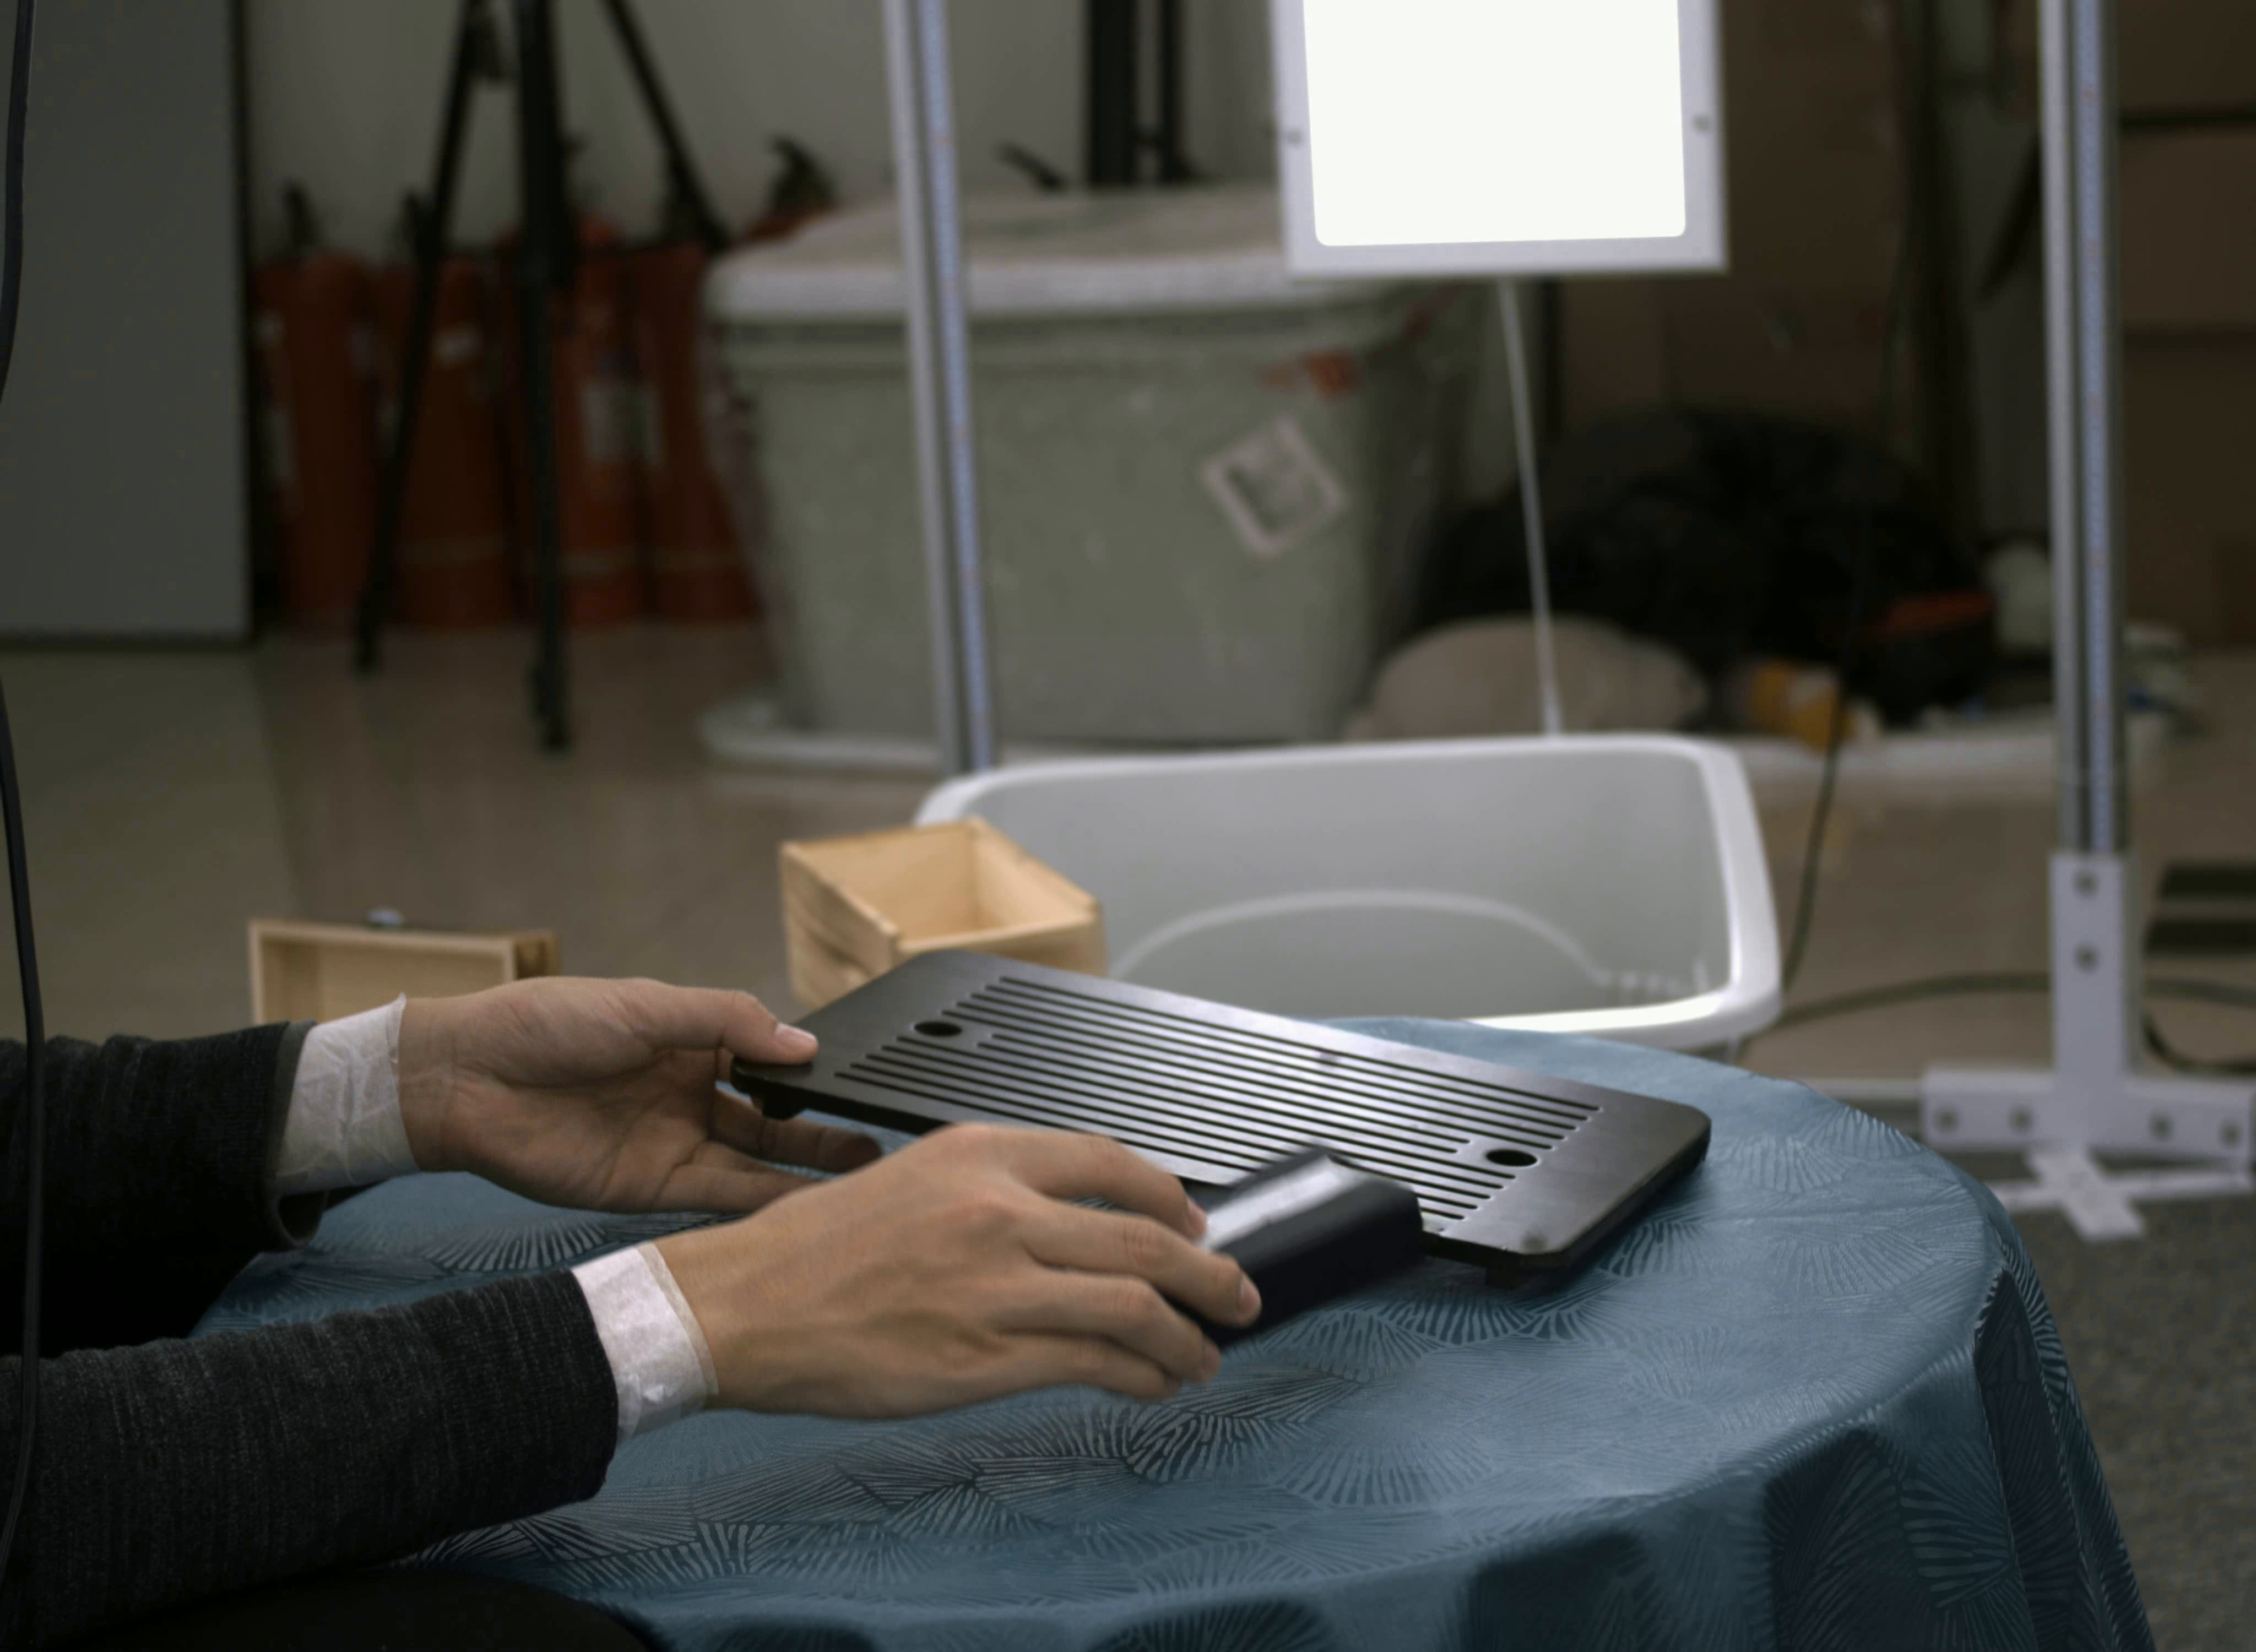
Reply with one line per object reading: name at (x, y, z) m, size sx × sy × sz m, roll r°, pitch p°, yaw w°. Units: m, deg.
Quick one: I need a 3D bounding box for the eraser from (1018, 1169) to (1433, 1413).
eraser at (0.031, 0.139, 1.668) m, size 0.122 × 0.030 × 0.054 m, roll -19°, pitch 25°, yaw -34°

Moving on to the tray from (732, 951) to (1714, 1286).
tray at (0.033, 0.097, 1.880) m, size 0.310 × 0.019 × 0.166 m, roll 11°, pitch 18°, yaw 25°
